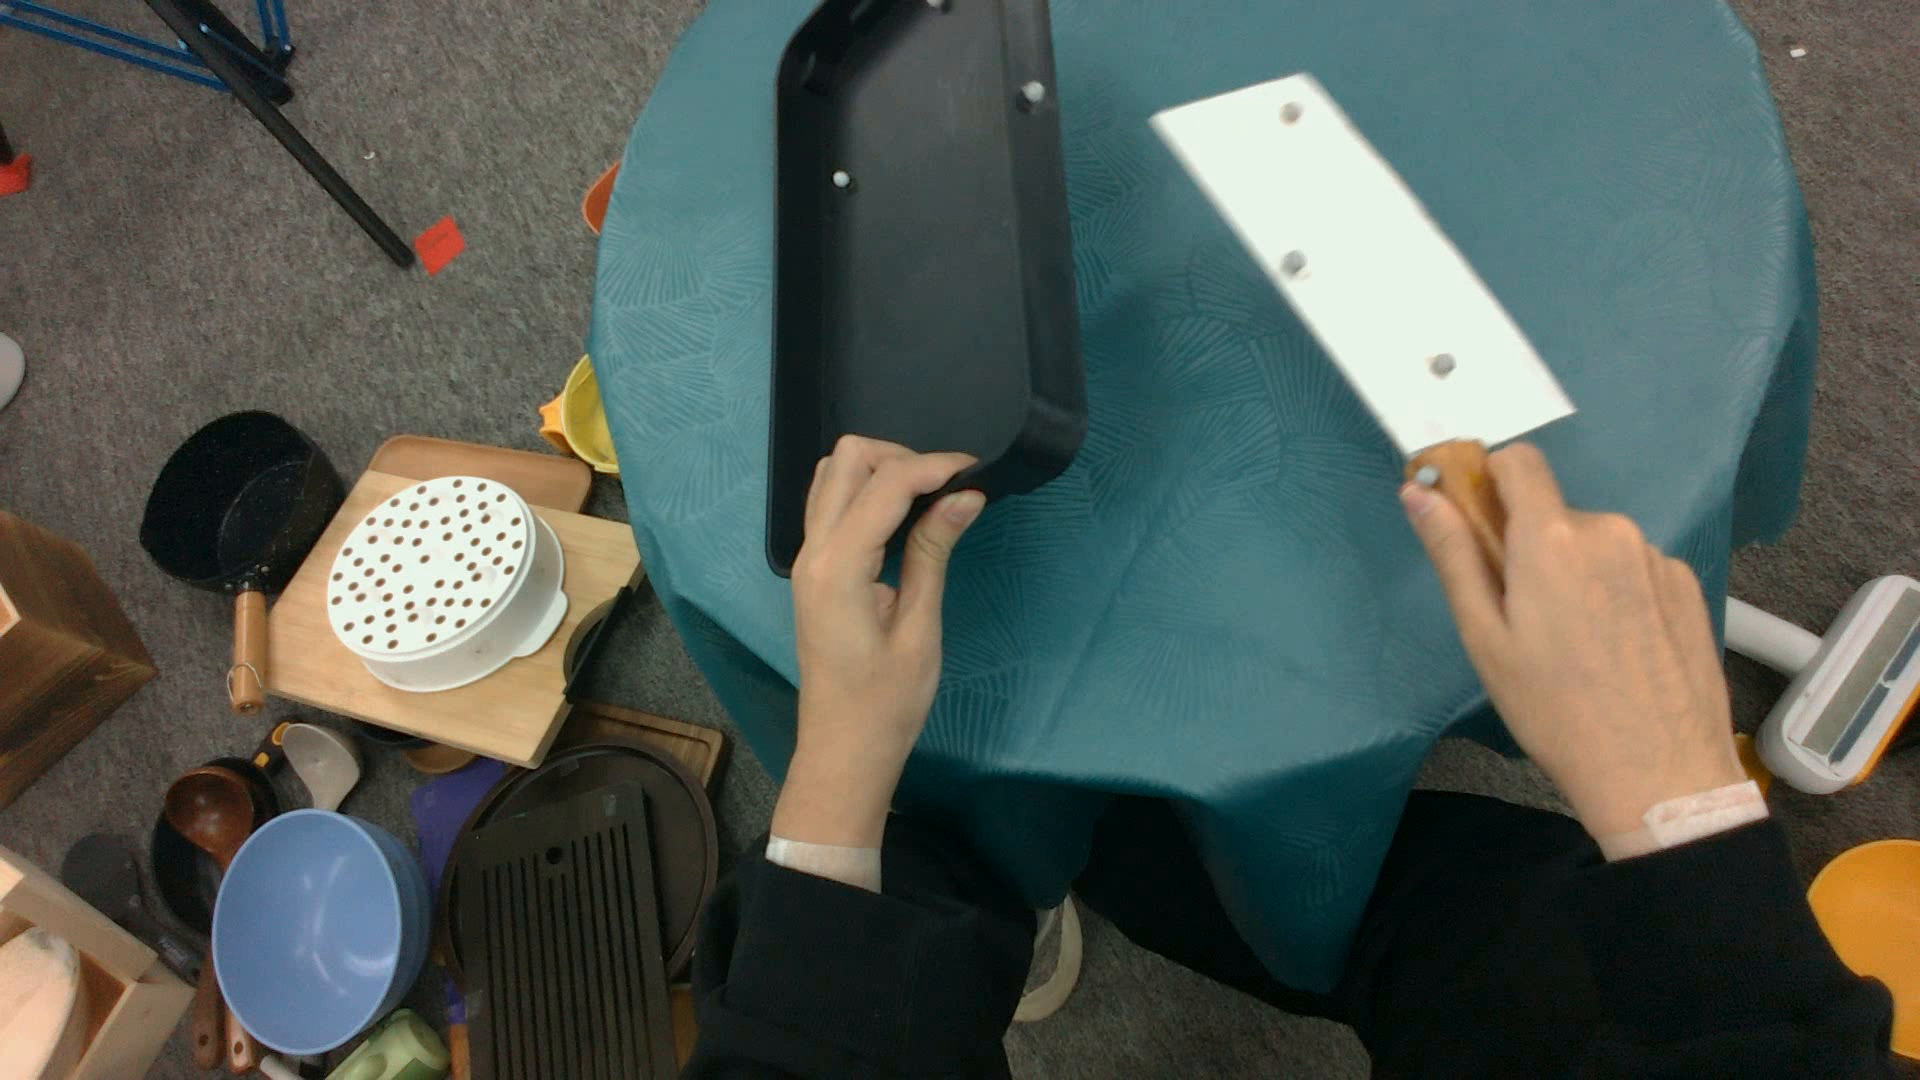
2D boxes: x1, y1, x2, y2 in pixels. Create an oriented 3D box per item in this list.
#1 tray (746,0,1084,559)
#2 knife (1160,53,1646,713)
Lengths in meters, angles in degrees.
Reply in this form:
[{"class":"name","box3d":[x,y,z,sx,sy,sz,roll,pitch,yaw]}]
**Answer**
[{"class":"tray","box3d":[-0.033,-0.161,0.641,0.183,0.037,0.319,-28,56,41]},{"class":"knife","box3d":[0.188,-0.078,0.554,0.093,0.021,0.306,-21,72,-26]}]
